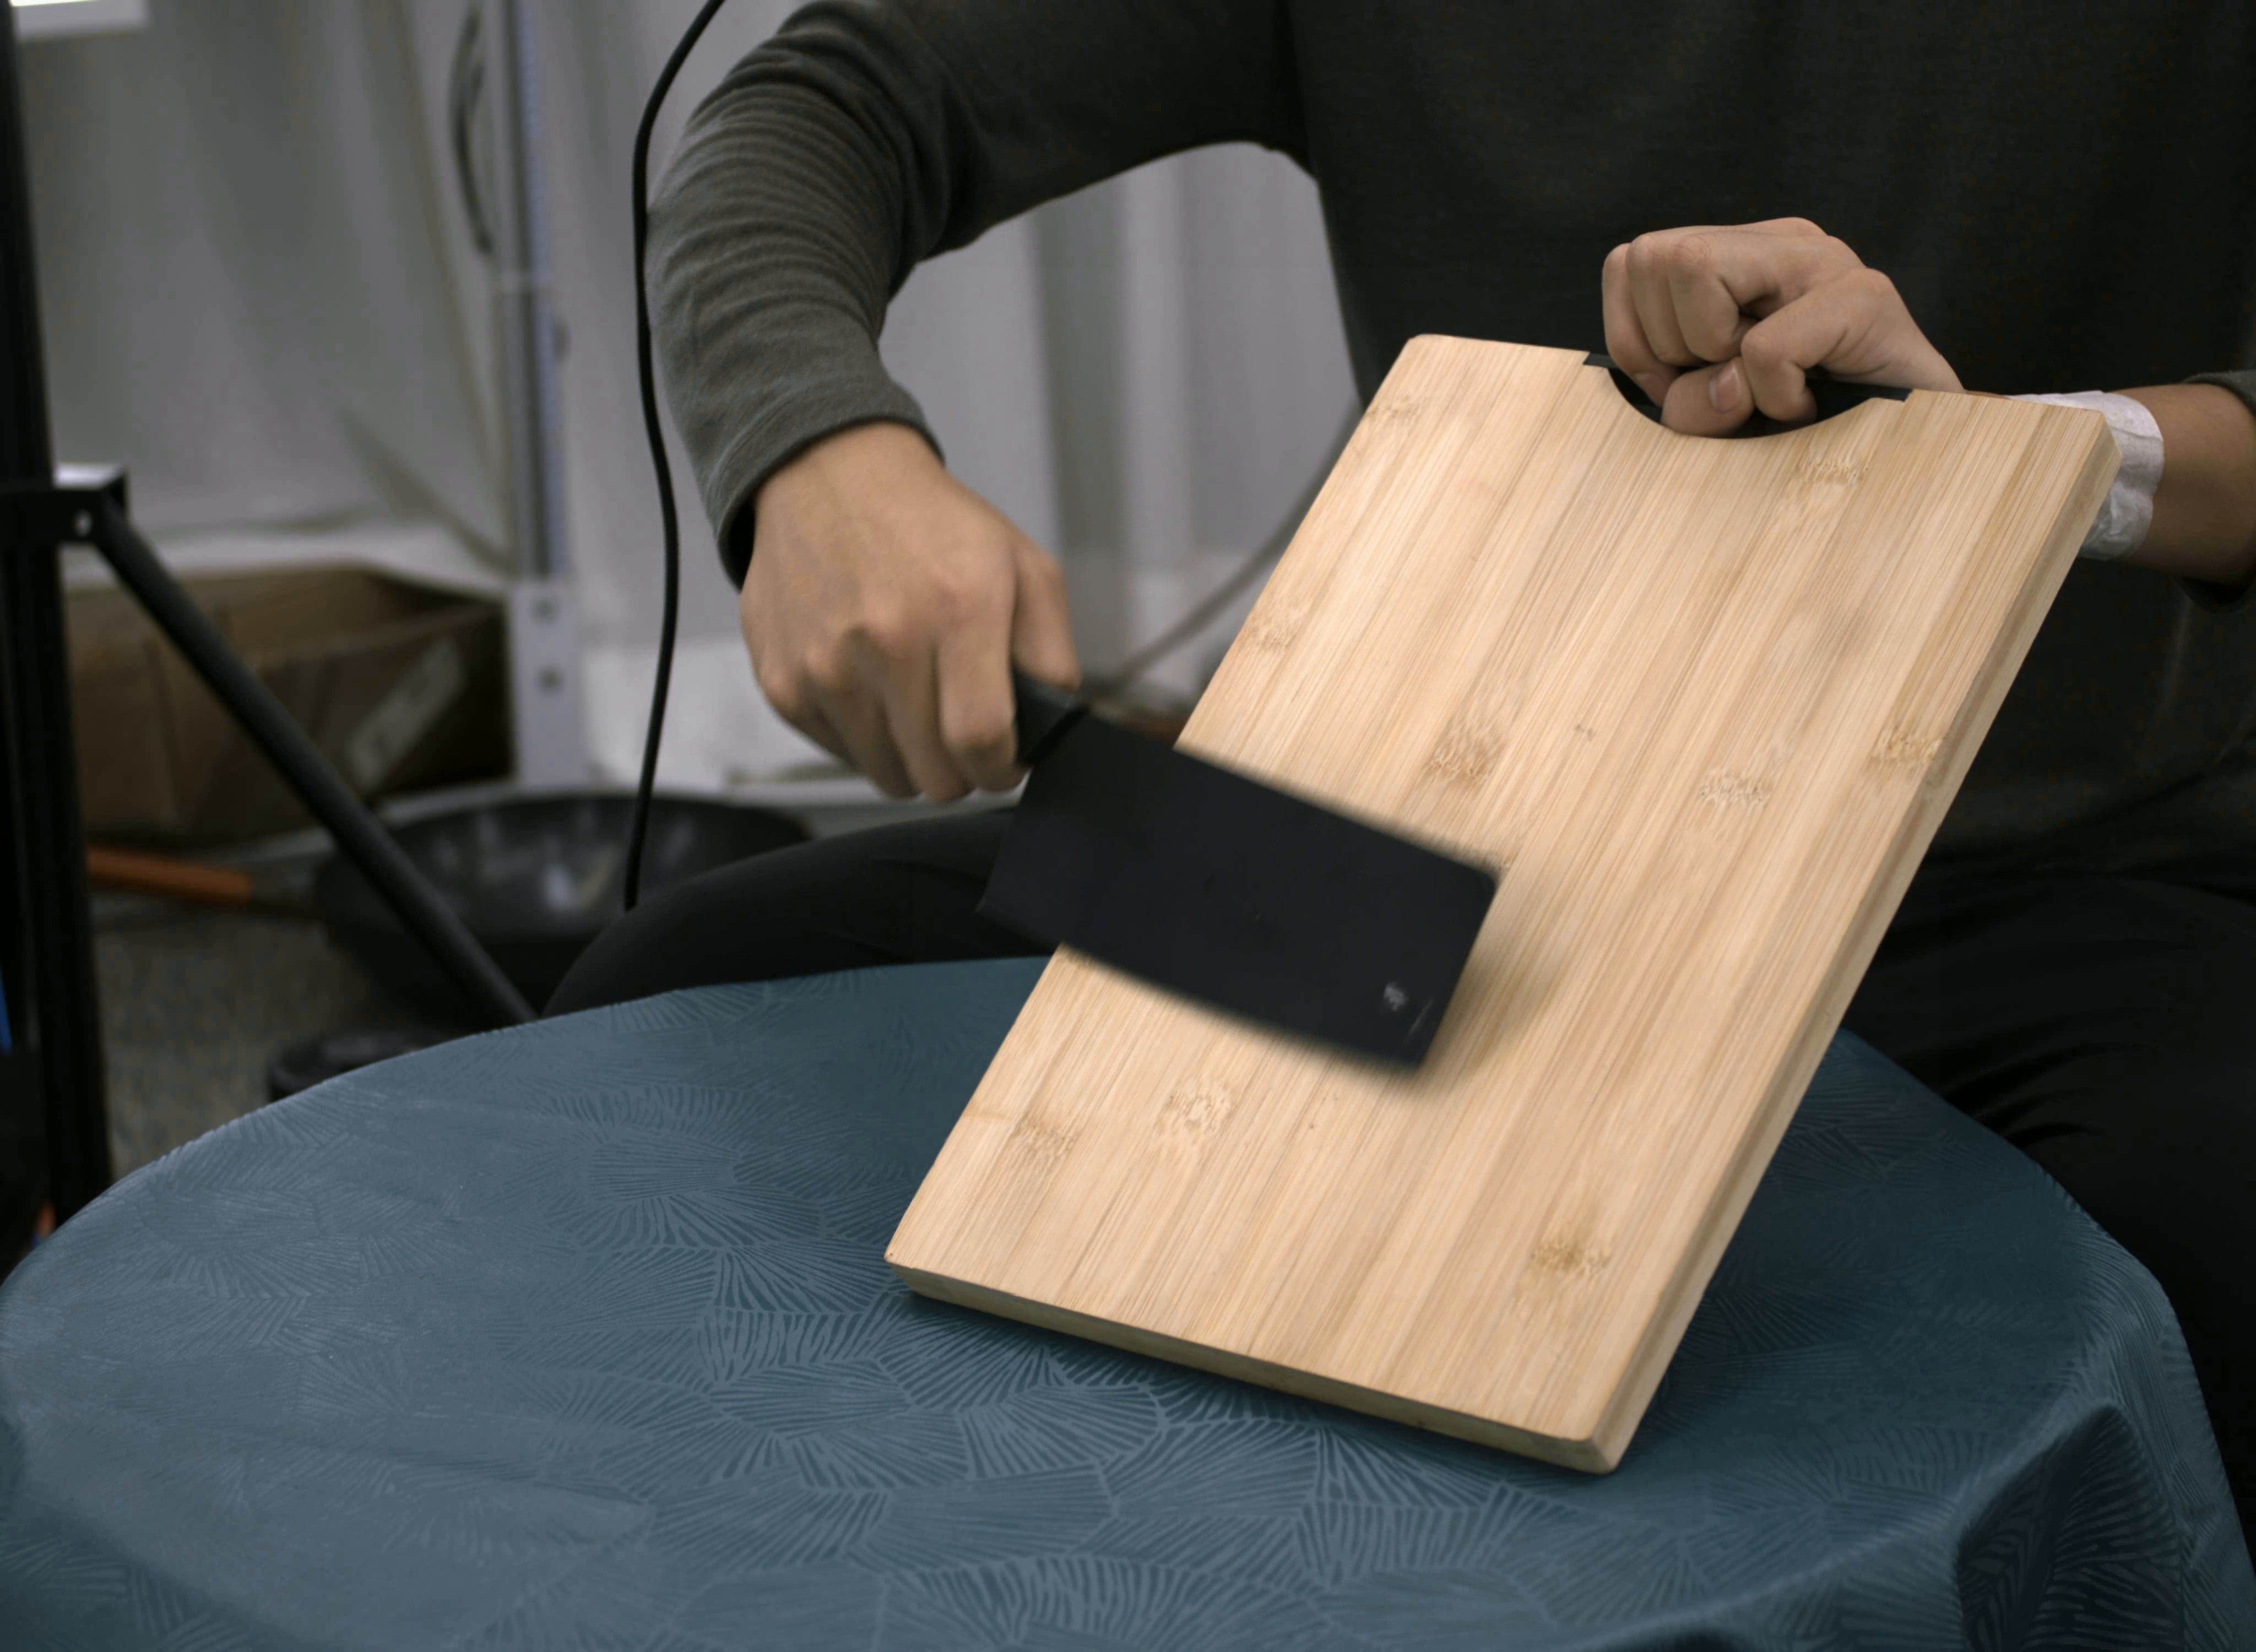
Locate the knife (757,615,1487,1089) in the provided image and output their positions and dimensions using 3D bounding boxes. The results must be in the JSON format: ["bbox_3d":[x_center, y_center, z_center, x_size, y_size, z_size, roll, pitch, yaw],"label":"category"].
[{"bbox_3d":[-0.011,0.001,1.524,0.020,0.081,0.309,25,3,-44],"label":"knife"}]

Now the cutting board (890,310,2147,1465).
[{"bbox_3d":[0.108,0.004,1.476,0.256,0.023,0.348,10,60,39],"label":"cutting board"}]
